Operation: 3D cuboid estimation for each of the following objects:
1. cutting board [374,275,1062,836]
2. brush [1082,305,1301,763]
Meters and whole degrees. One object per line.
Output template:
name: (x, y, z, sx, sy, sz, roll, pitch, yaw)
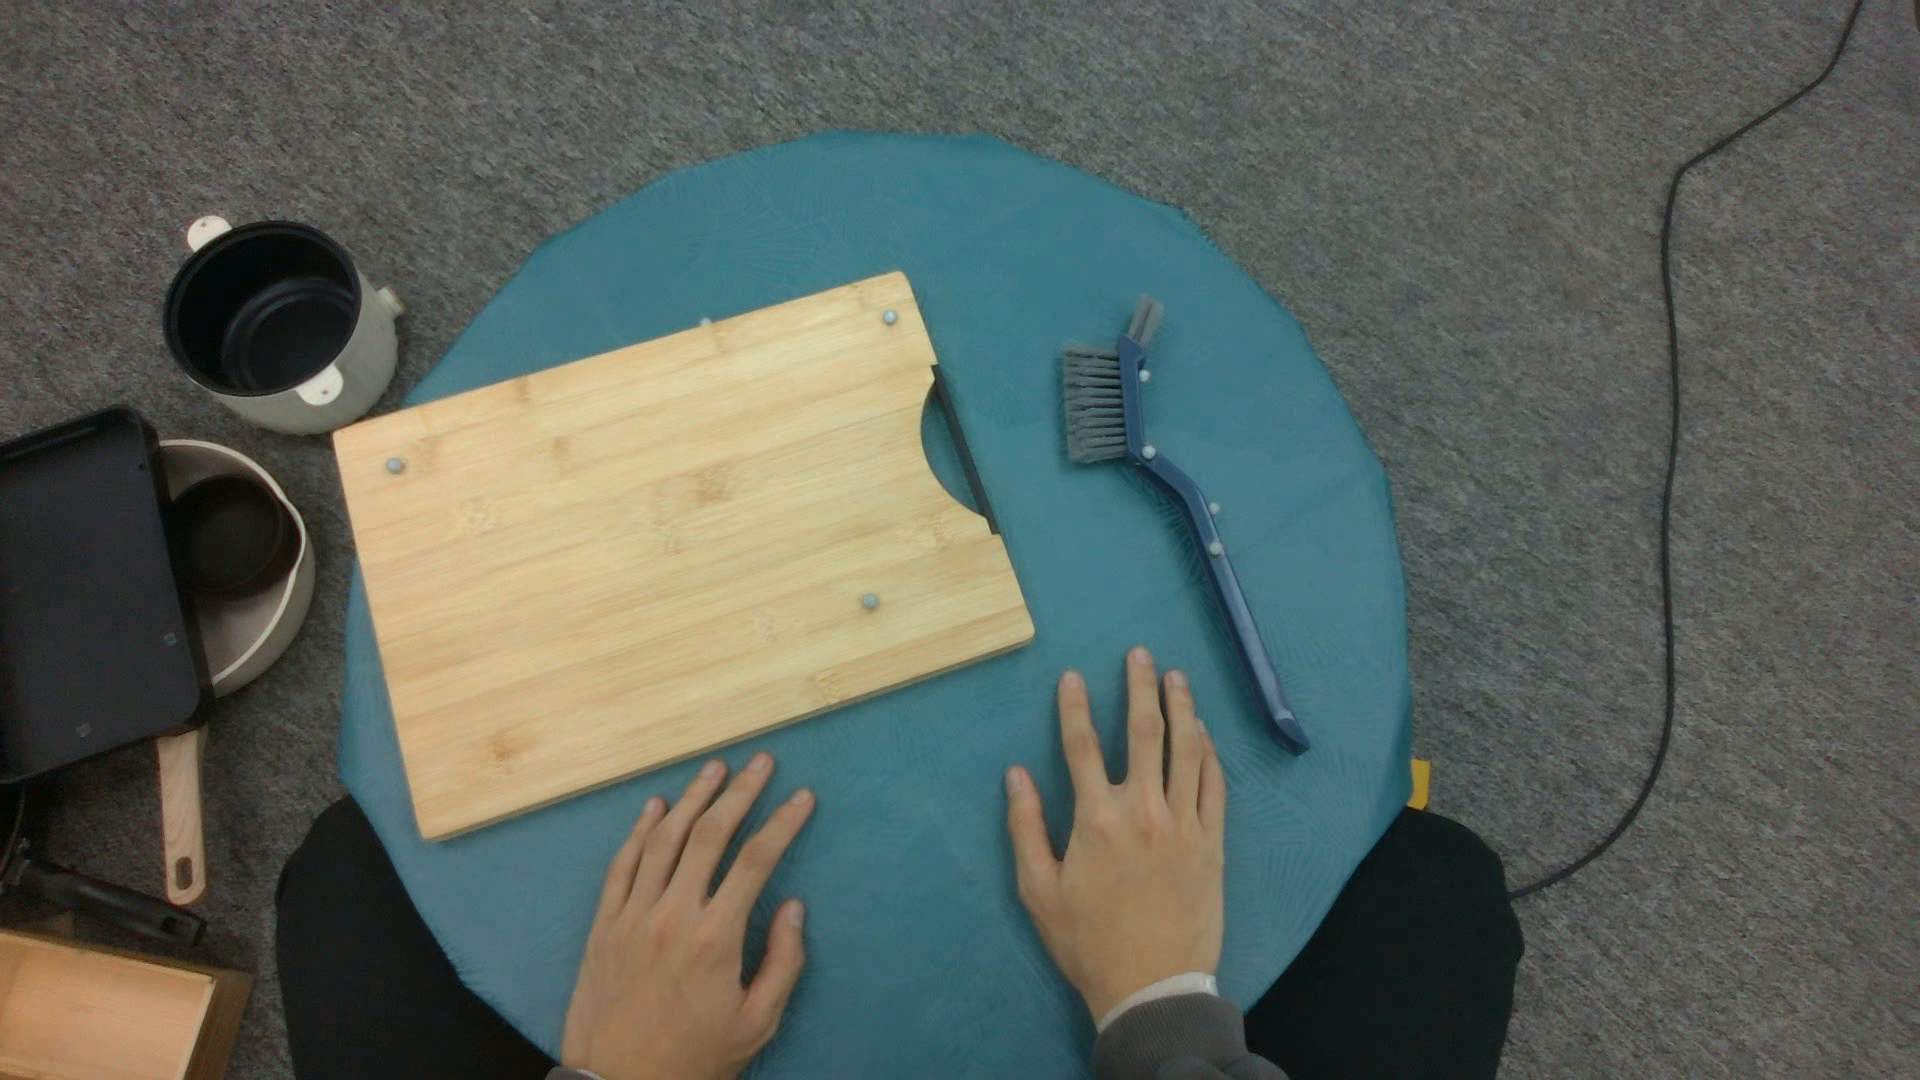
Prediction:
cutting board: (-0.145, 0.000, 0.795, 0.349, 0.023, 0.251, -19, 74, -7)
brush: (0.148, -0.008, 0.796, 0.096, 0.033, 0.273, -25, 73, -9)
